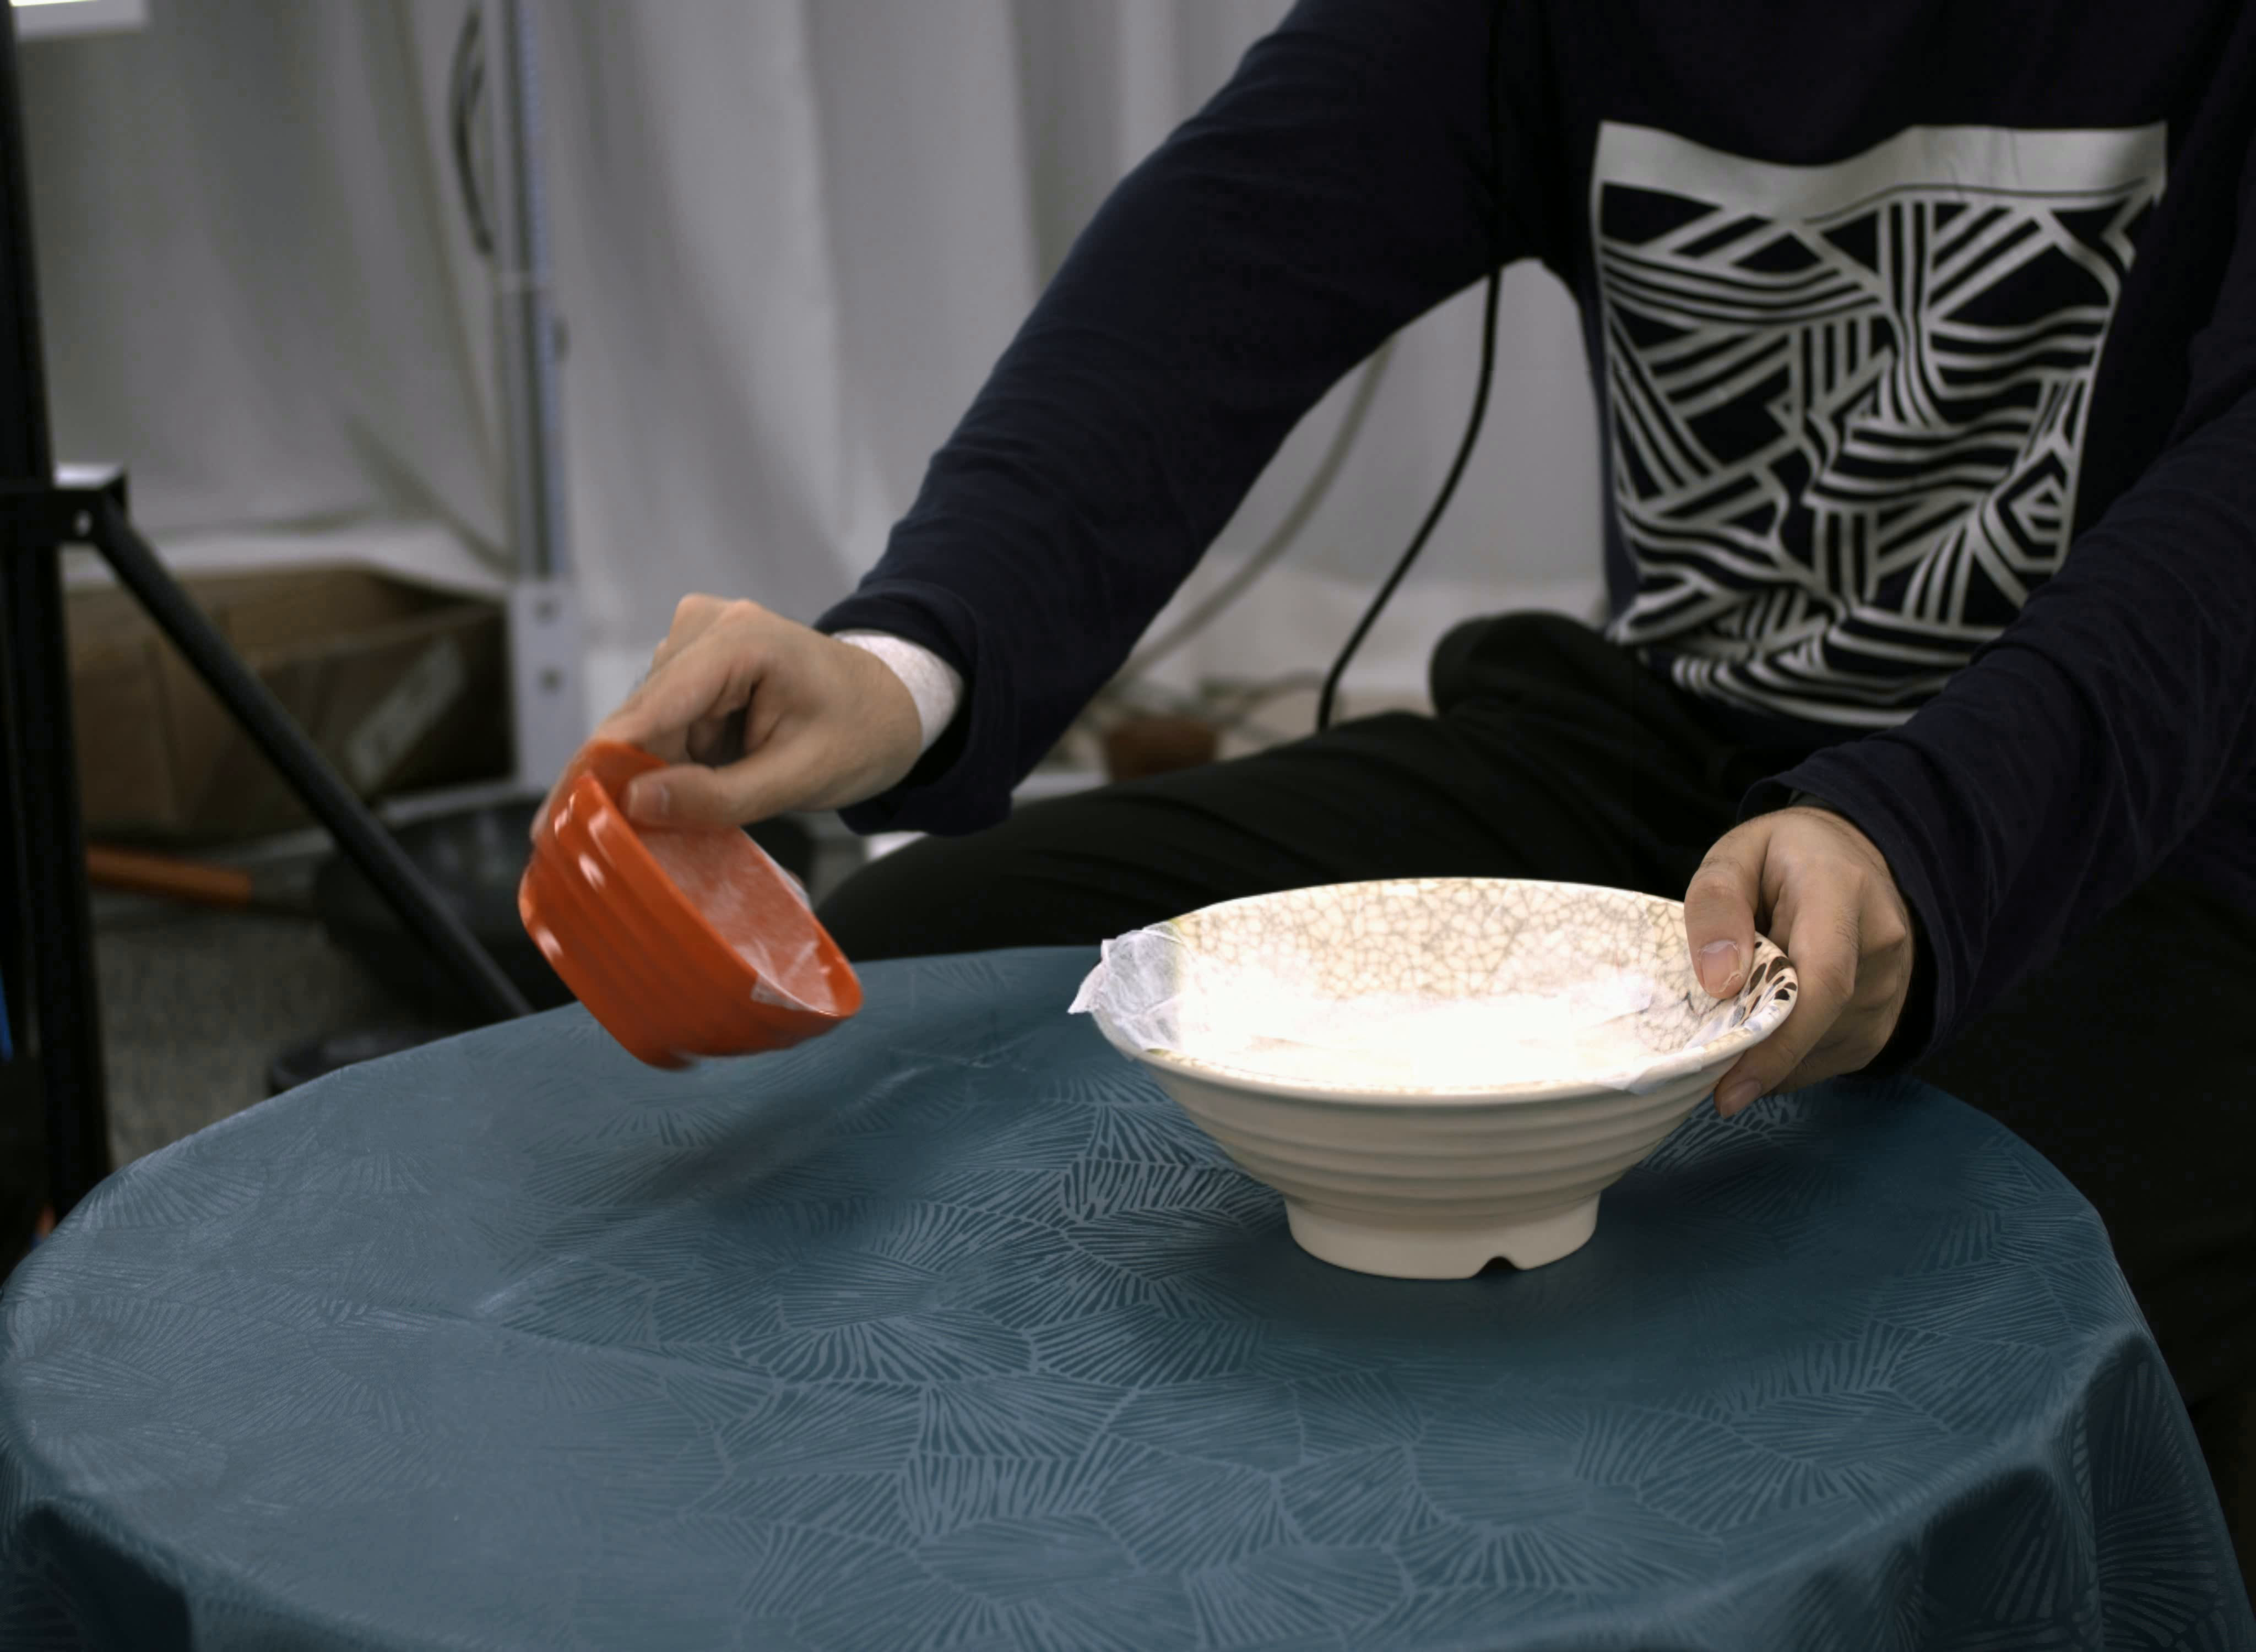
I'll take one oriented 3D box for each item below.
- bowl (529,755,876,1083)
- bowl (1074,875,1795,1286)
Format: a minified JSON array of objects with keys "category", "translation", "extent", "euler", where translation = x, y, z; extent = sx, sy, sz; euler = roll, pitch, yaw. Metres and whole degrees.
[{"category":"bowl","translation":[-0.133,0.035,1.585],"extent":[0.118,0.051,0.119],"euler":[41,11,-12]},{"category":"bowl","translation":[0.087,0.080,1.510],"extent":[0.203,0.078,0.205],"euler":[-2,15,-1]}]
